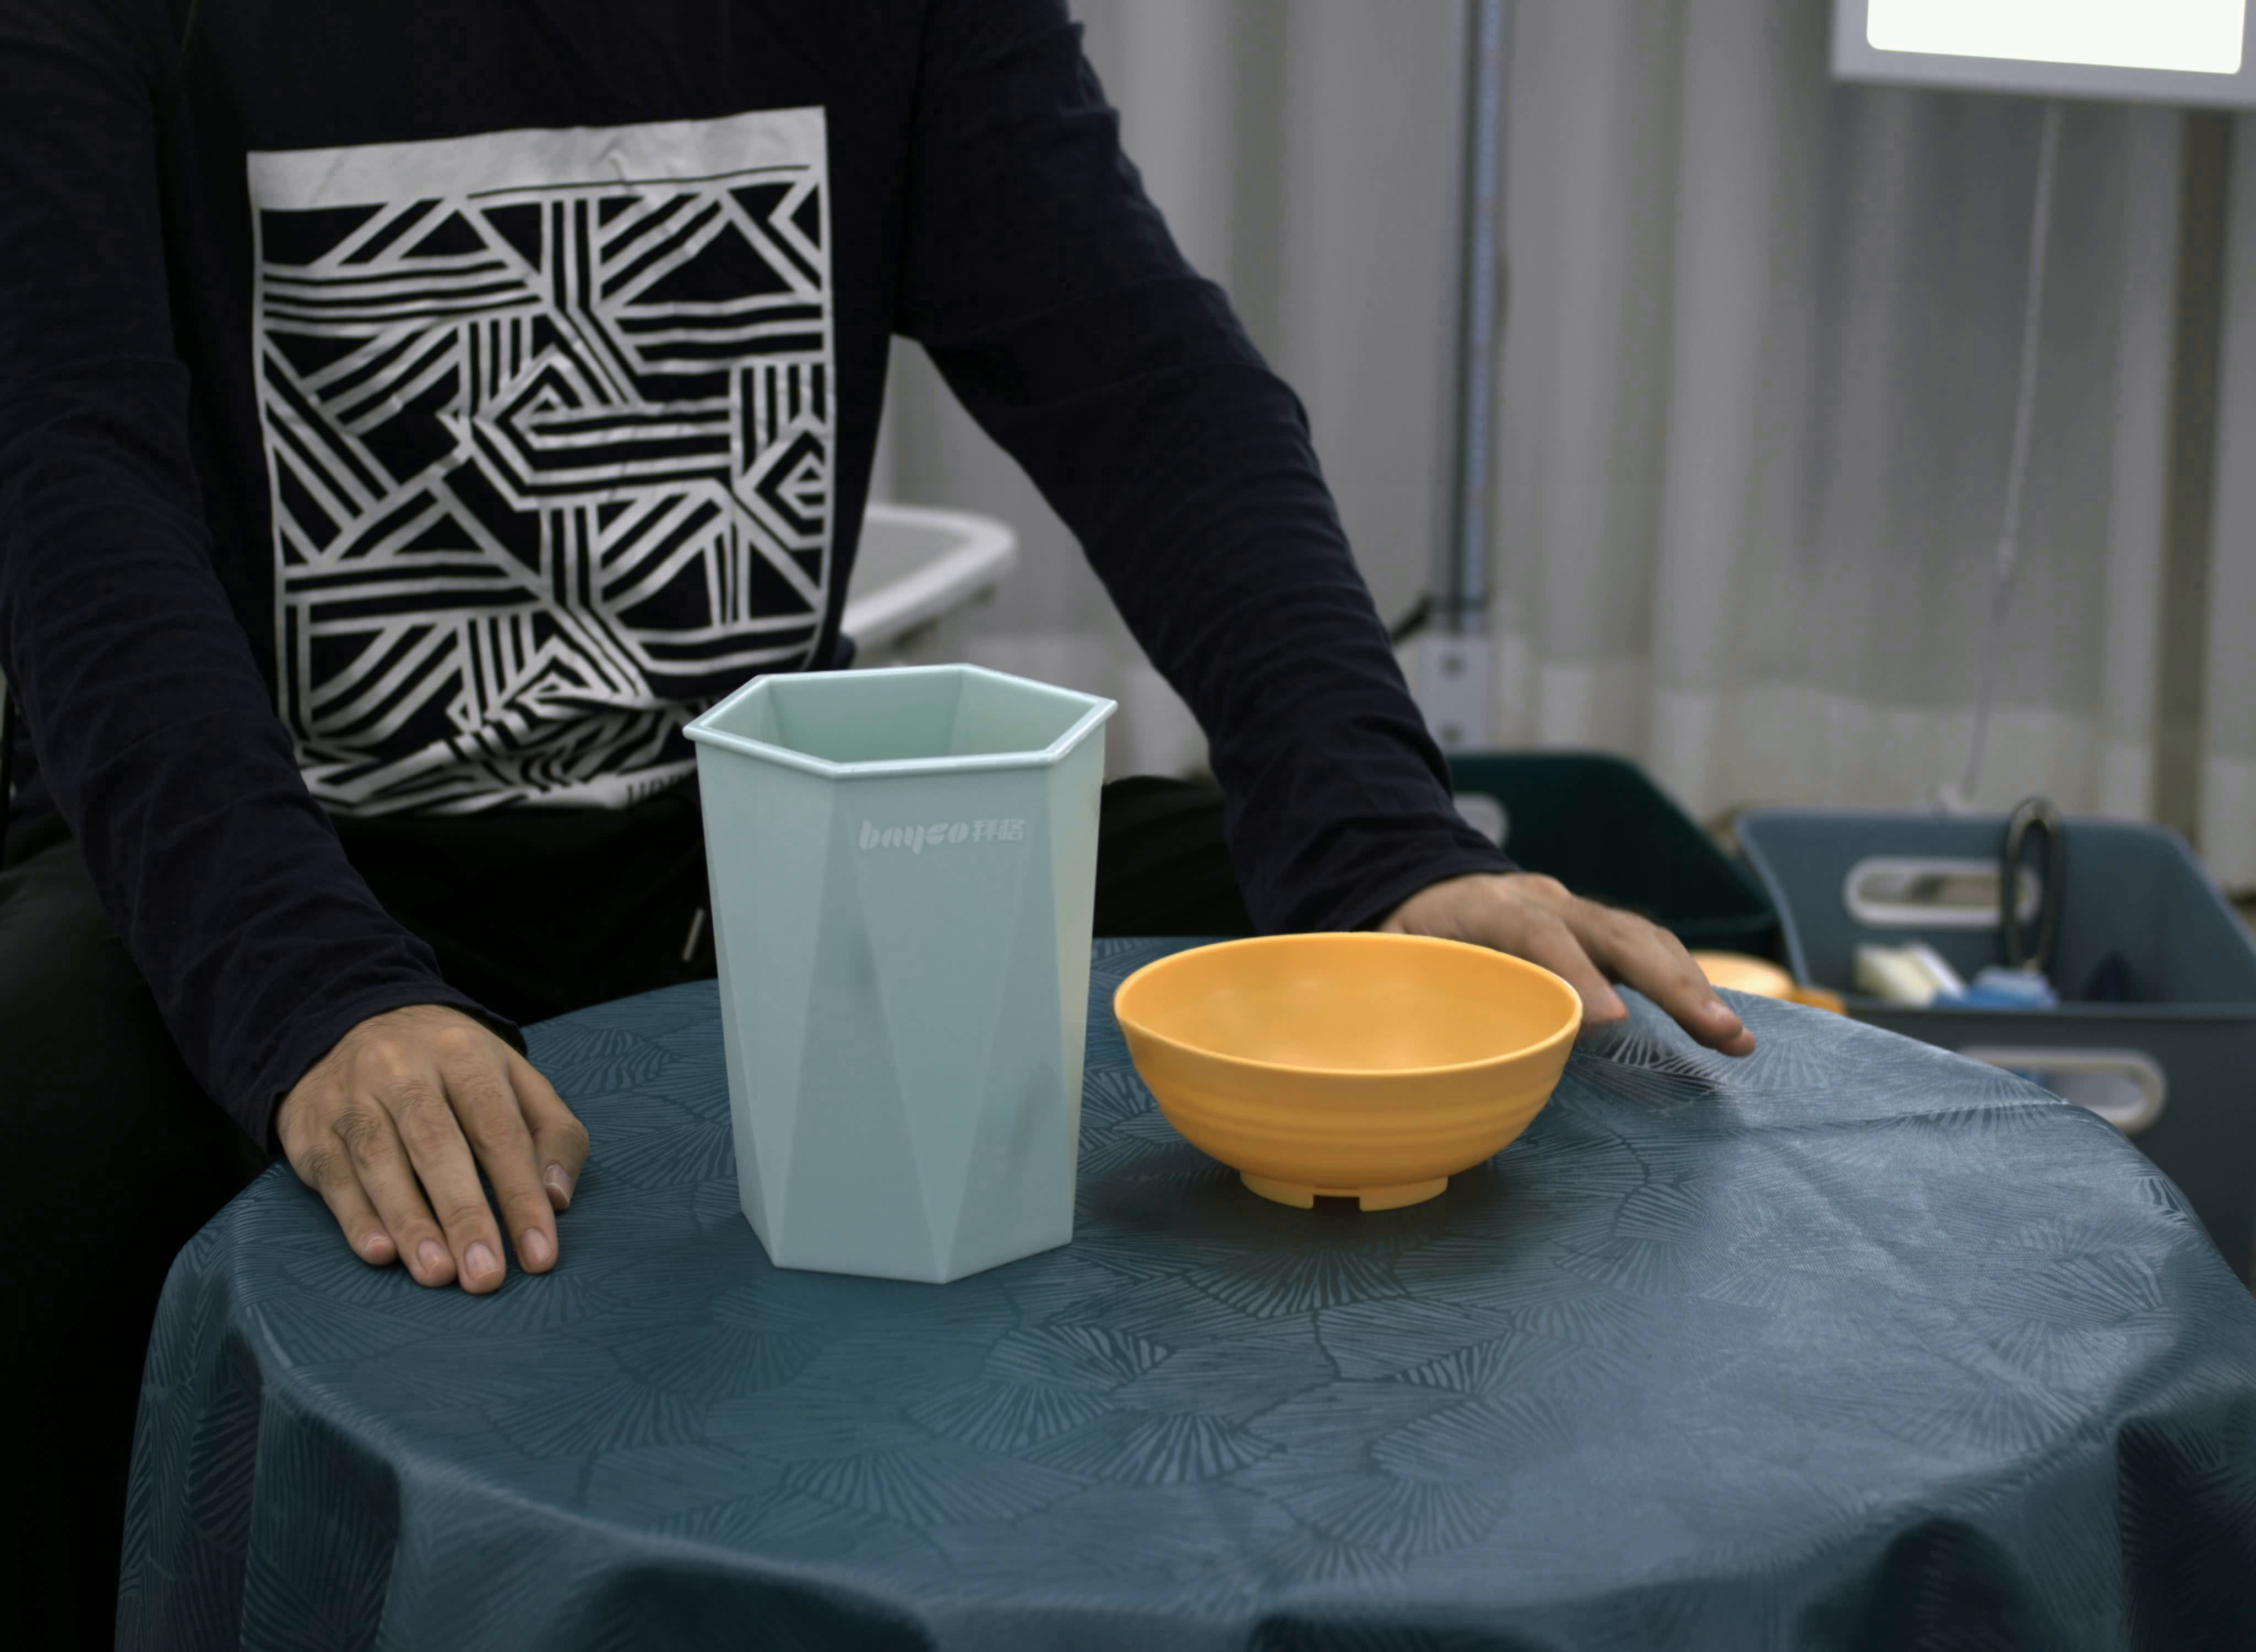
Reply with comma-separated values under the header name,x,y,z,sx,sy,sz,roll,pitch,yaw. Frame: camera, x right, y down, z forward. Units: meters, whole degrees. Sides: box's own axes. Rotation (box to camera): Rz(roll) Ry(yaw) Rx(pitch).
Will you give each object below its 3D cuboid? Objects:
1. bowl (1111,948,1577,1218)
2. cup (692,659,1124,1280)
name,x,y,z,sx,sy,sz,roll,pitch,yaw
bowl,0.066,0.084,1.634,0.145,0.060,0.144,1,13,0
cup,-0.065,0.042,1.568,0.131,0.164,0.114,-4,15,-16
